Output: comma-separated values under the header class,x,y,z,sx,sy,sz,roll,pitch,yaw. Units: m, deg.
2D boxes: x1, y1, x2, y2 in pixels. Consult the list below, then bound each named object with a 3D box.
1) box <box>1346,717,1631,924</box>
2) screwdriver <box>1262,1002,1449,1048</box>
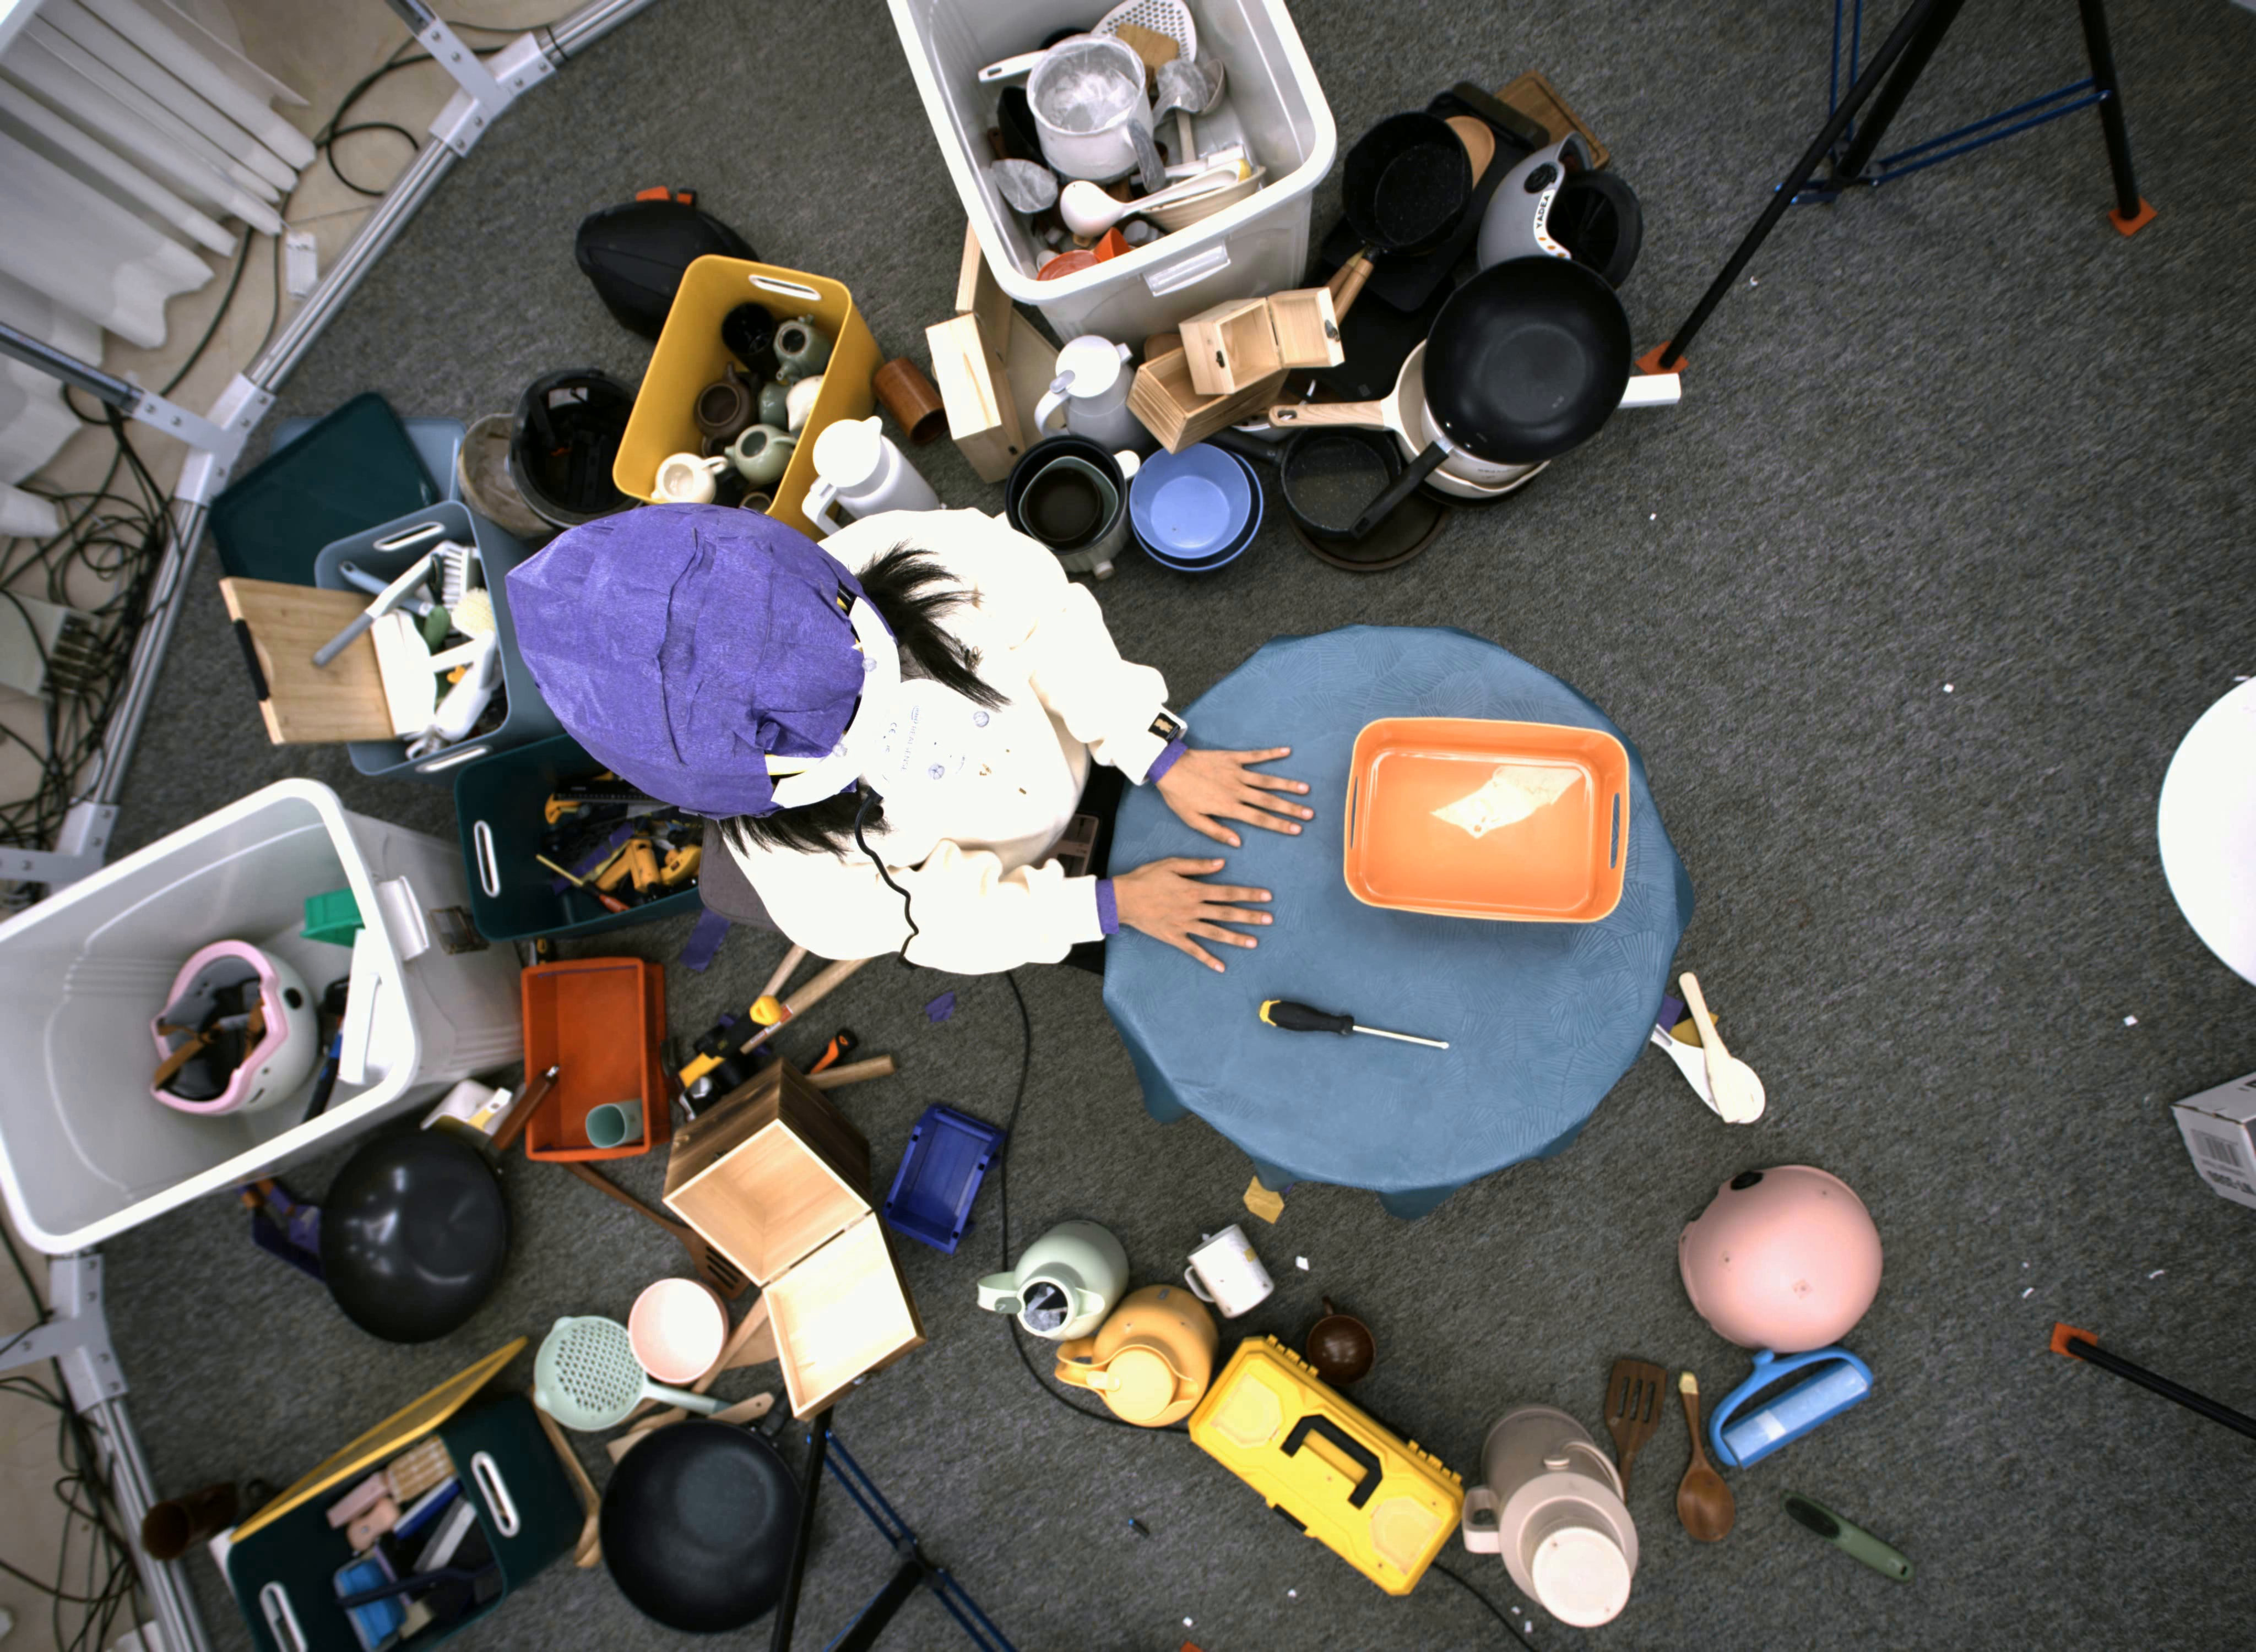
class,x,y,z,sx,sy,sz,roll,pitch,yaw
box,0.360,-0.006,1.395,0.274,0.102,0.199,4,88,10
screwdriver,0.237,0.214,1.449,0.196,0.031,0.031,13,87,7
